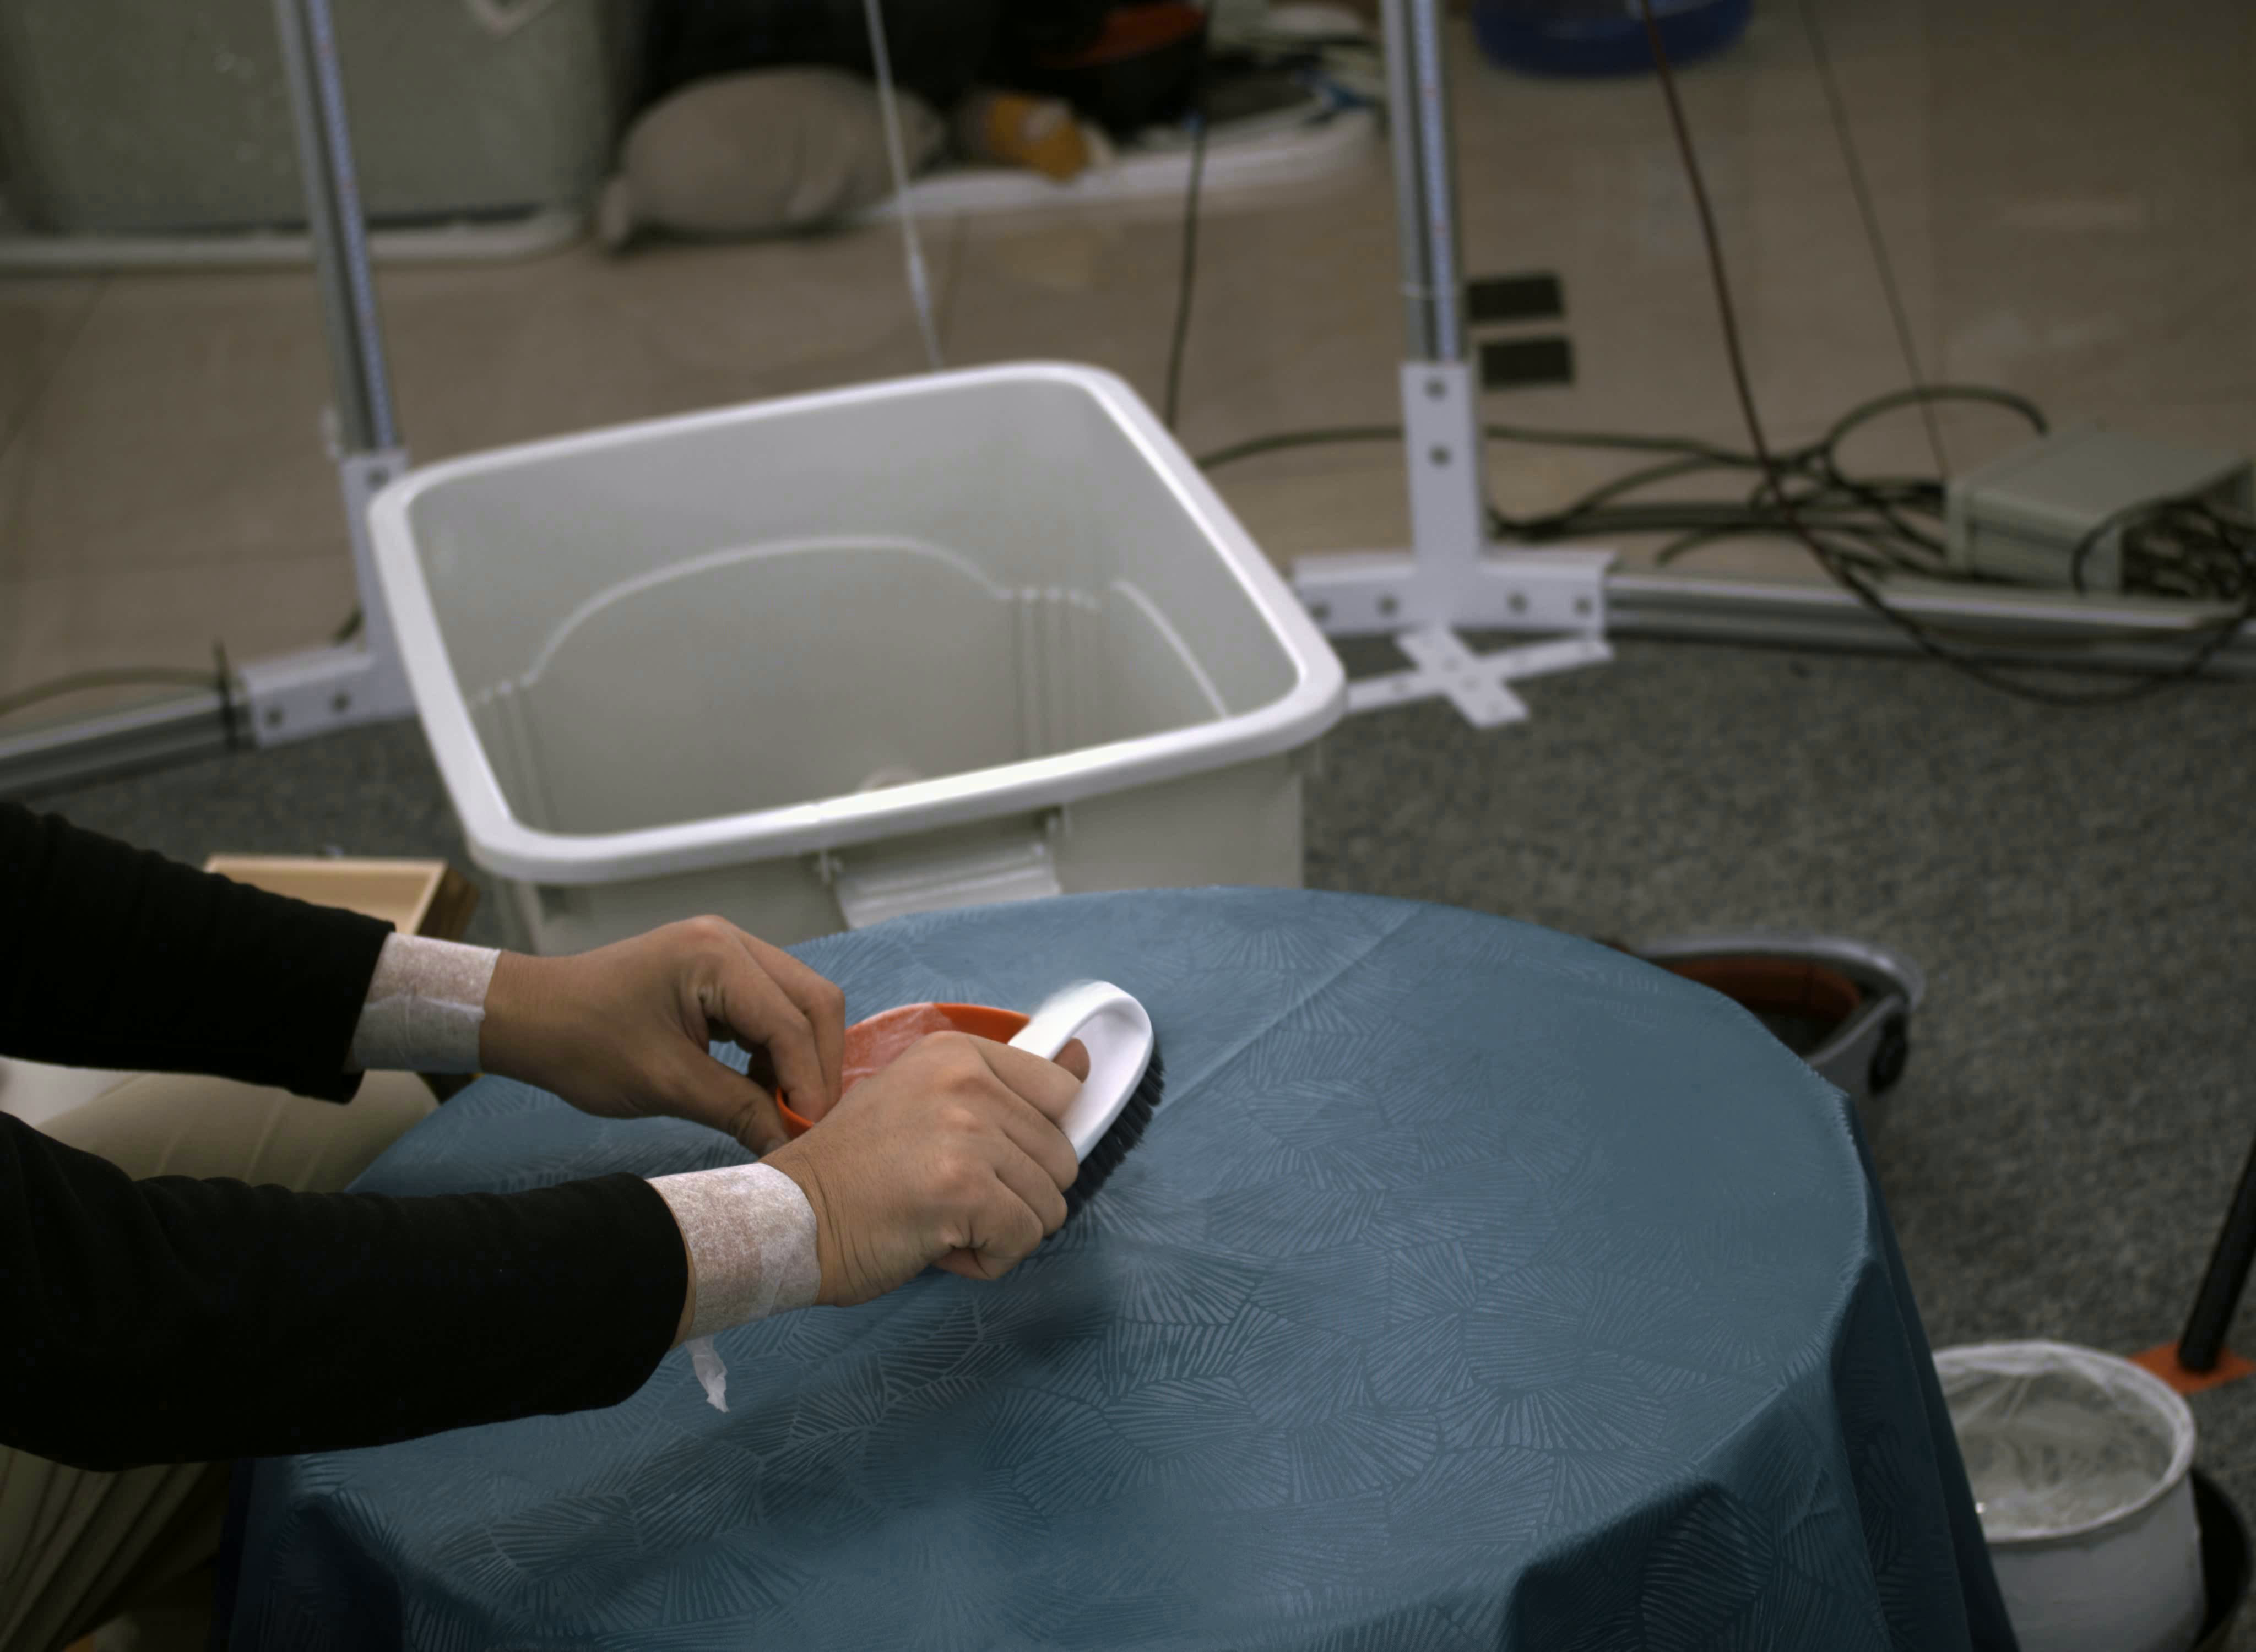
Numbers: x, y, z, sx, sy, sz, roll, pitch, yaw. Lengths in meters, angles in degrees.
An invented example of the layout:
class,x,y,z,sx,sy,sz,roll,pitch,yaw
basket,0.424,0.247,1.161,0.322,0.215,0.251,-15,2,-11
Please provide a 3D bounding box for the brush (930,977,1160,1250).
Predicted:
class,x,y,z,sx,sy,sz,roll,pitch,yaw
brush,-0.032,0.097,2.037,0.050,0.074,0.098,33,70,24

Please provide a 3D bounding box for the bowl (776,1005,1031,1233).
class,x,y,z,sx,sy,sz,roll,pitch,yaw
bowl,-0.072,0.115,2.155,0.119,0.052,0.117,-4,24,2
